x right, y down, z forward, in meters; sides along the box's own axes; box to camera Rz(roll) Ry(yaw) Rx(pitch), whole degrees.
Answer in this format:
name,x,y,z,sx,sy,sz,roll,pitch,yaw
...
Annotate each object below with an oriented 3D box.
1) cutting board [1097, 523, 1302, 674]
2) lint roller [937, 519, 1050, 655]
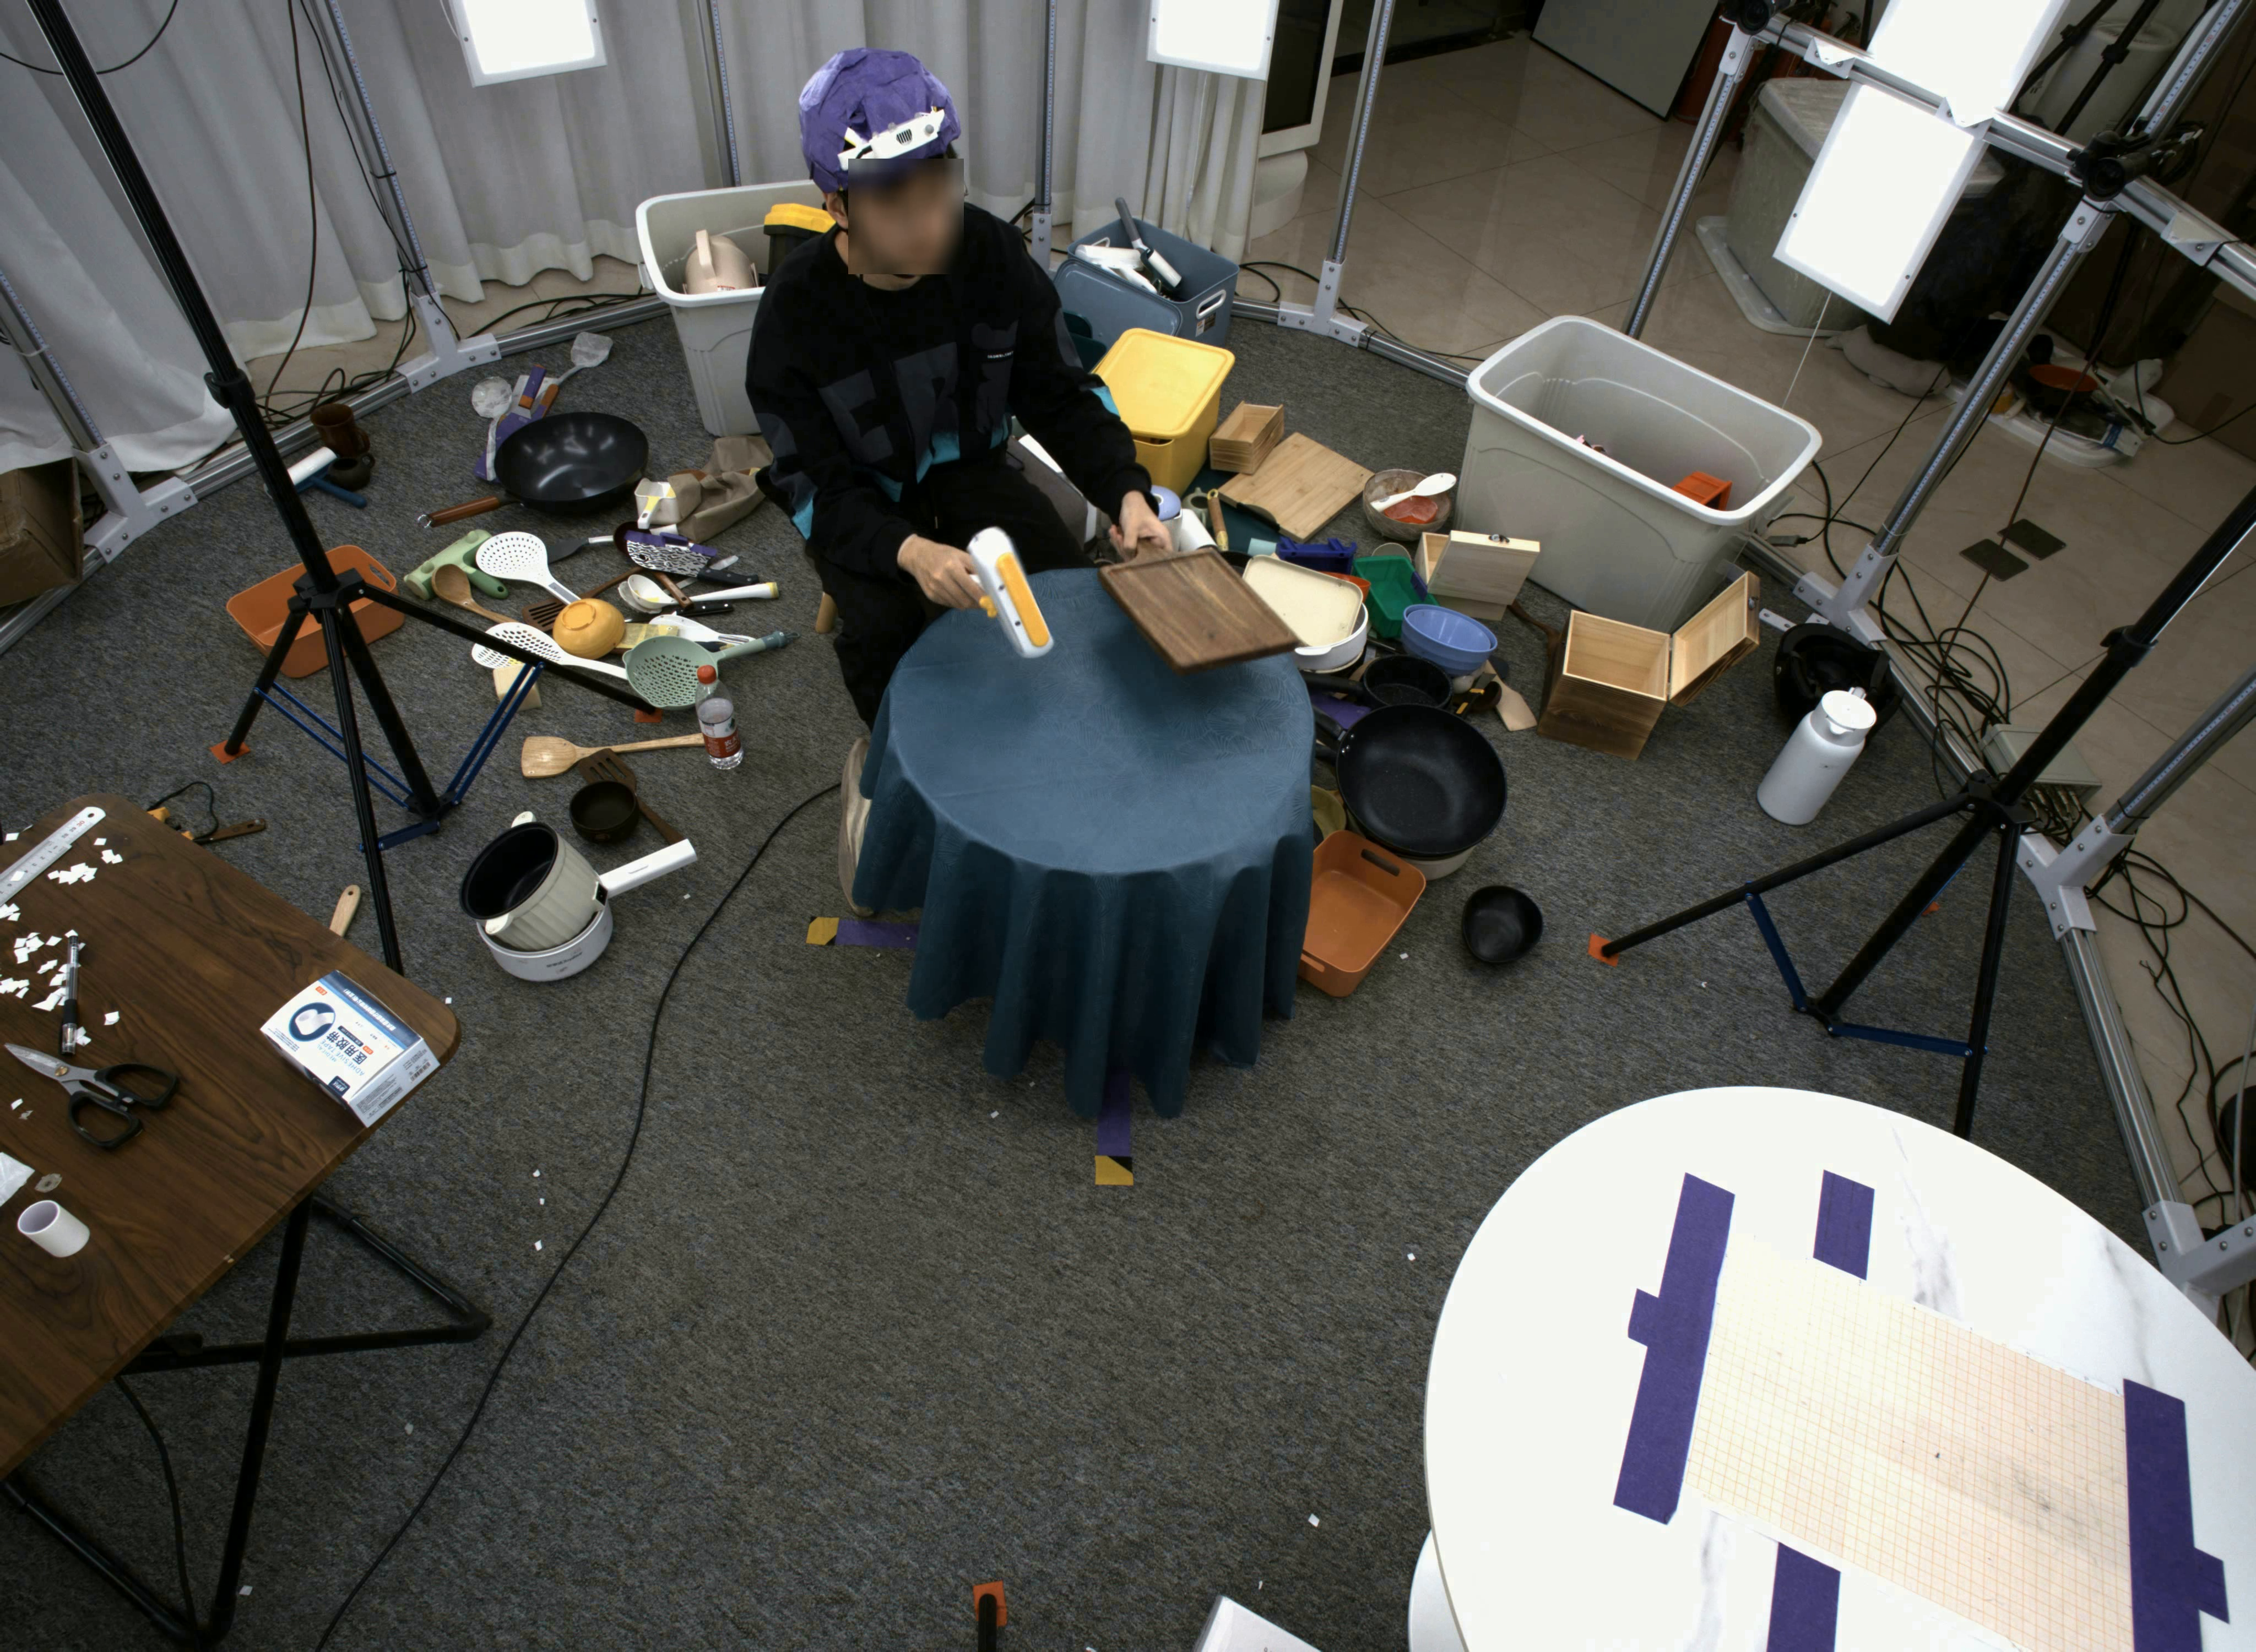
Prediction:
name,x,y,z,sx,sy,sz,roll,pitch,yaw
cutting board,0.075,-0.342,1.850,0.201,0.022,0.360,-15,46,-24
lint roller,-0.197,-0.332,1.781,0.074,0.189,0.195,-38,33,-17
